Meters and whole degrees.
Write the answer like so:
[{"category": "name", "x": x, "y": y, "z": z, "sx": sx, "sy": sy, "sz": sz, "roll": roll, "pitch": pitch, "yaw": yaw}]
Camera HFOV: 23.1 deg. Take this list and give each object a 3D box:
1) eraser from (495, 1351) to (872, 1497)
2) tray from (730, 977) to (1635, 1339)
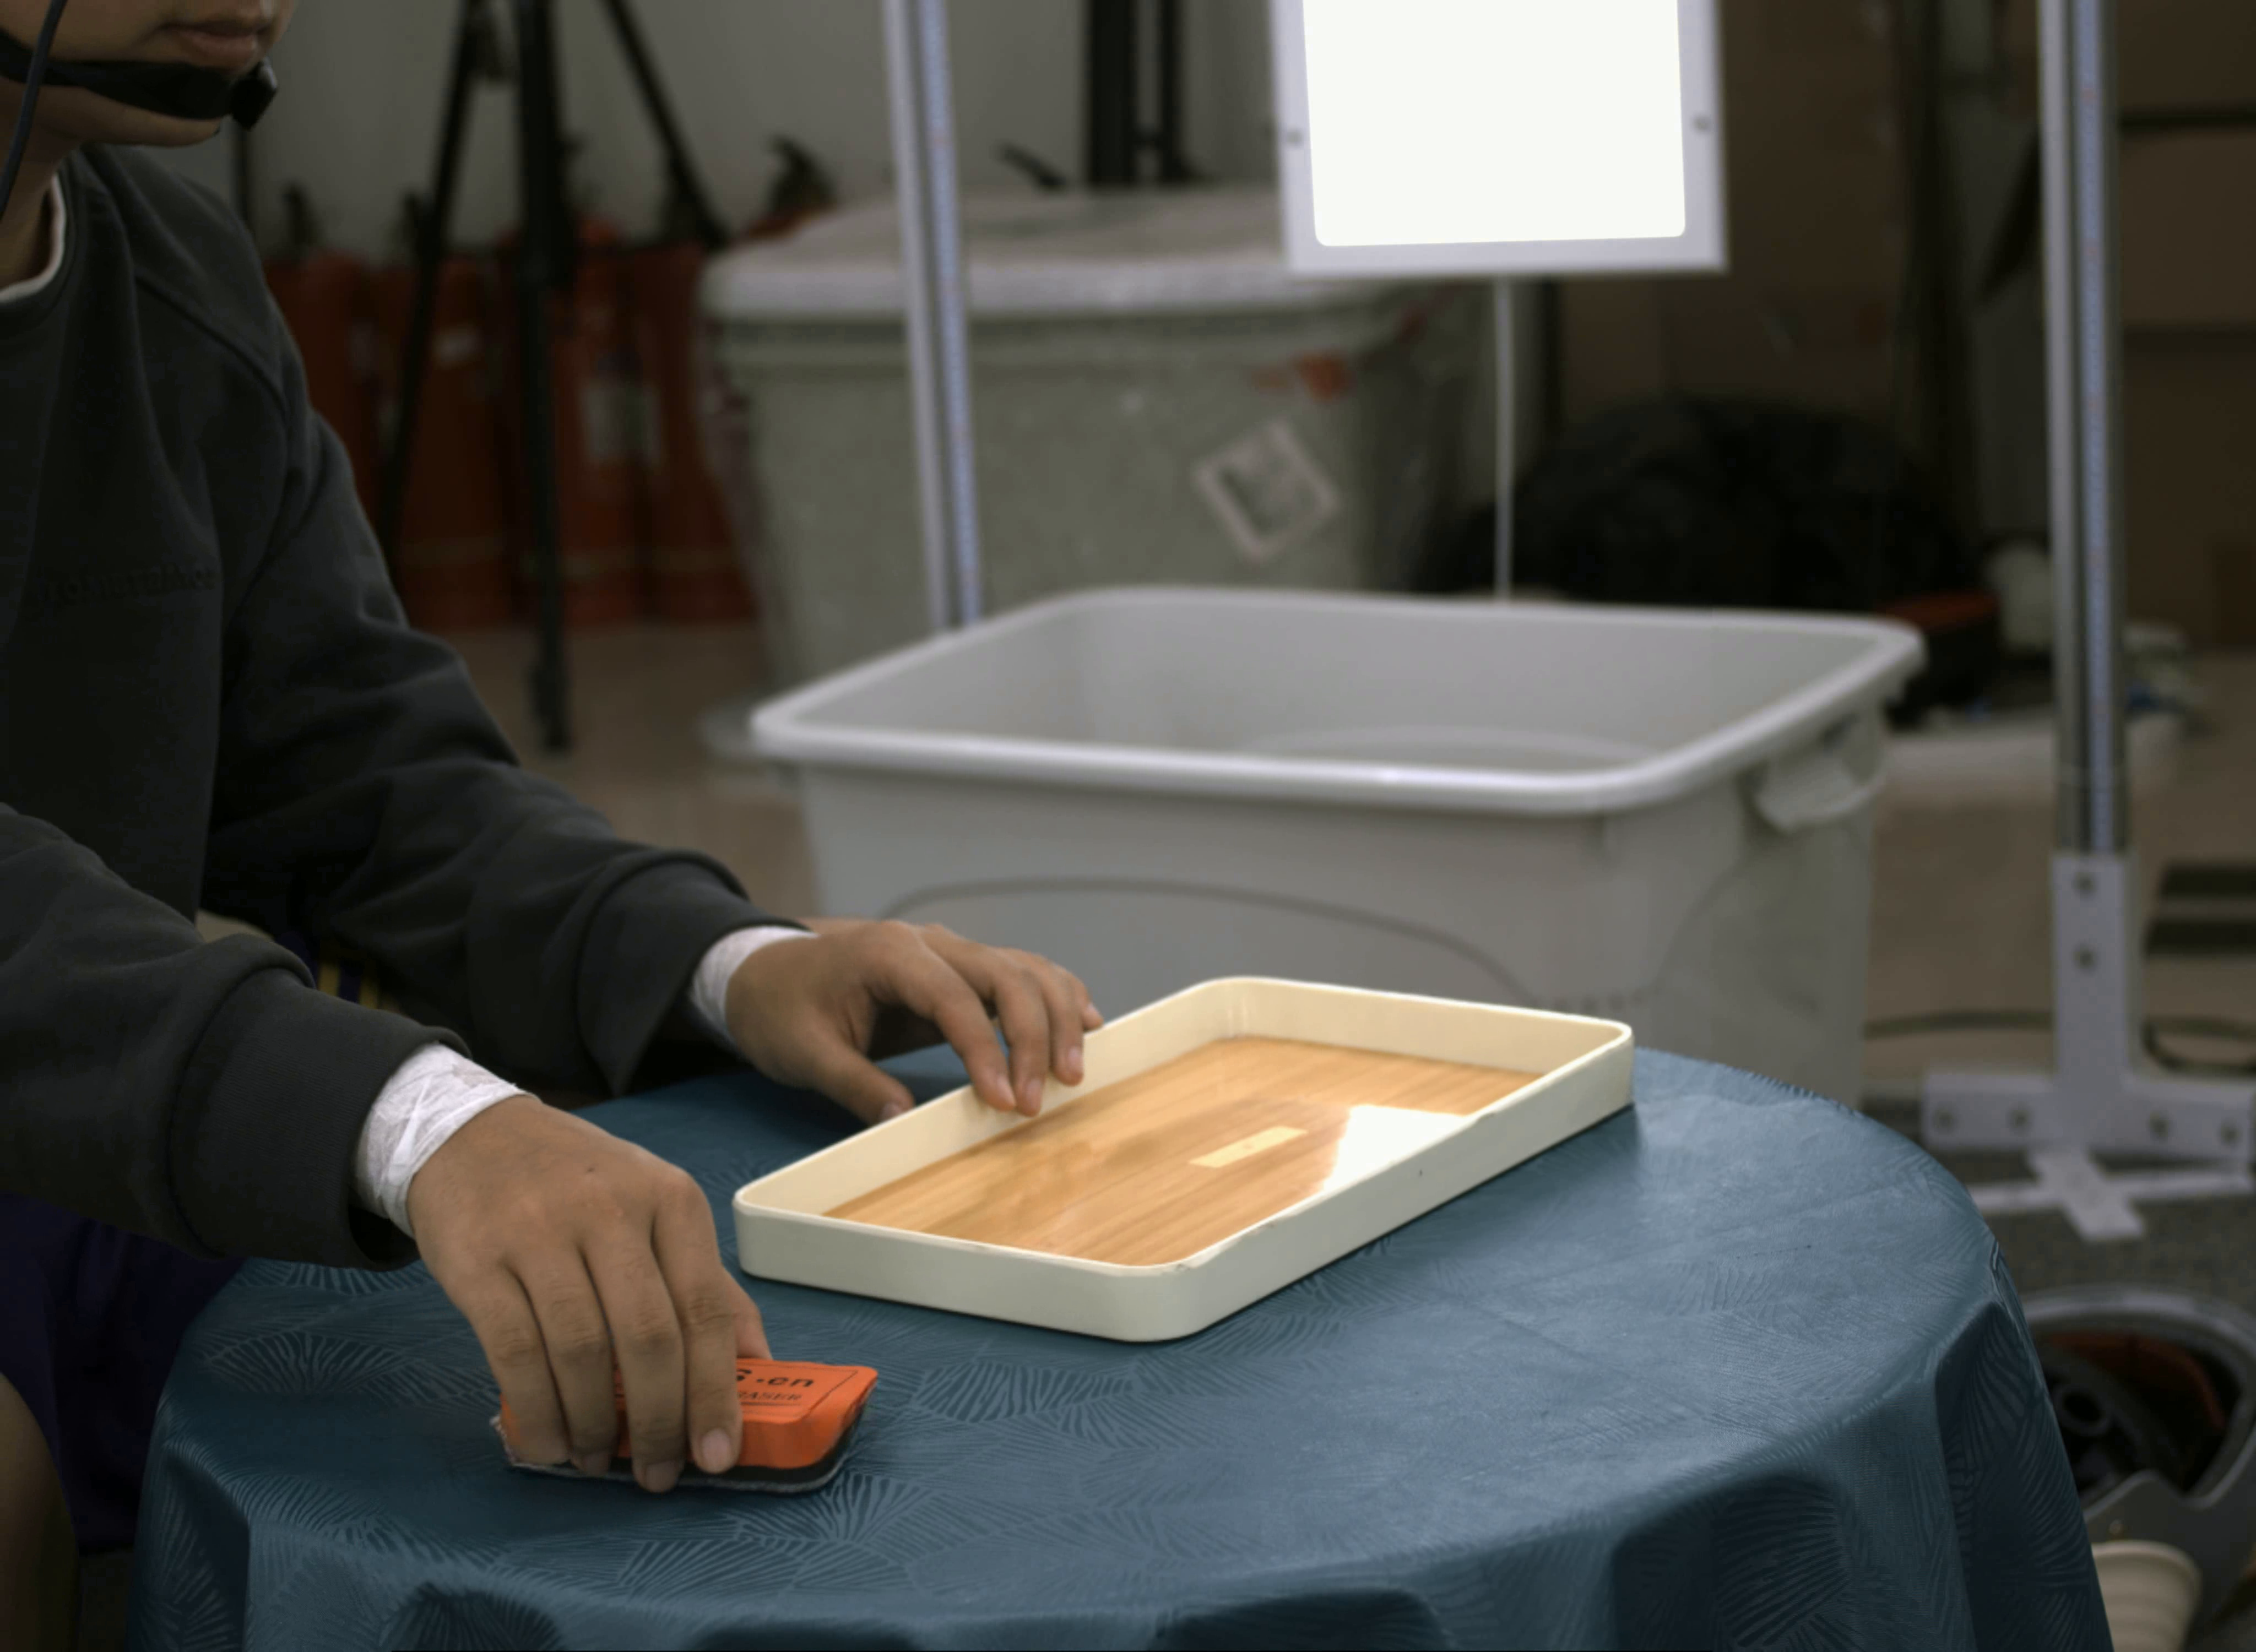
[{"category": "eraser", "x": -0.135, "y": 0.181, "z": 1.676, "sx": 0.110, "sy": 0.023, "sz": 0.058, "roll": 1, "pitch": 14, "yaw": 29}, {"category": "tray", "x": 0.024, "y": 0.110, "z": 1.898, "sx": 0.195, "sy": 0.027, "sz": 0.293, "roll": 6, "pitch": 17, "yaw": 38}]
